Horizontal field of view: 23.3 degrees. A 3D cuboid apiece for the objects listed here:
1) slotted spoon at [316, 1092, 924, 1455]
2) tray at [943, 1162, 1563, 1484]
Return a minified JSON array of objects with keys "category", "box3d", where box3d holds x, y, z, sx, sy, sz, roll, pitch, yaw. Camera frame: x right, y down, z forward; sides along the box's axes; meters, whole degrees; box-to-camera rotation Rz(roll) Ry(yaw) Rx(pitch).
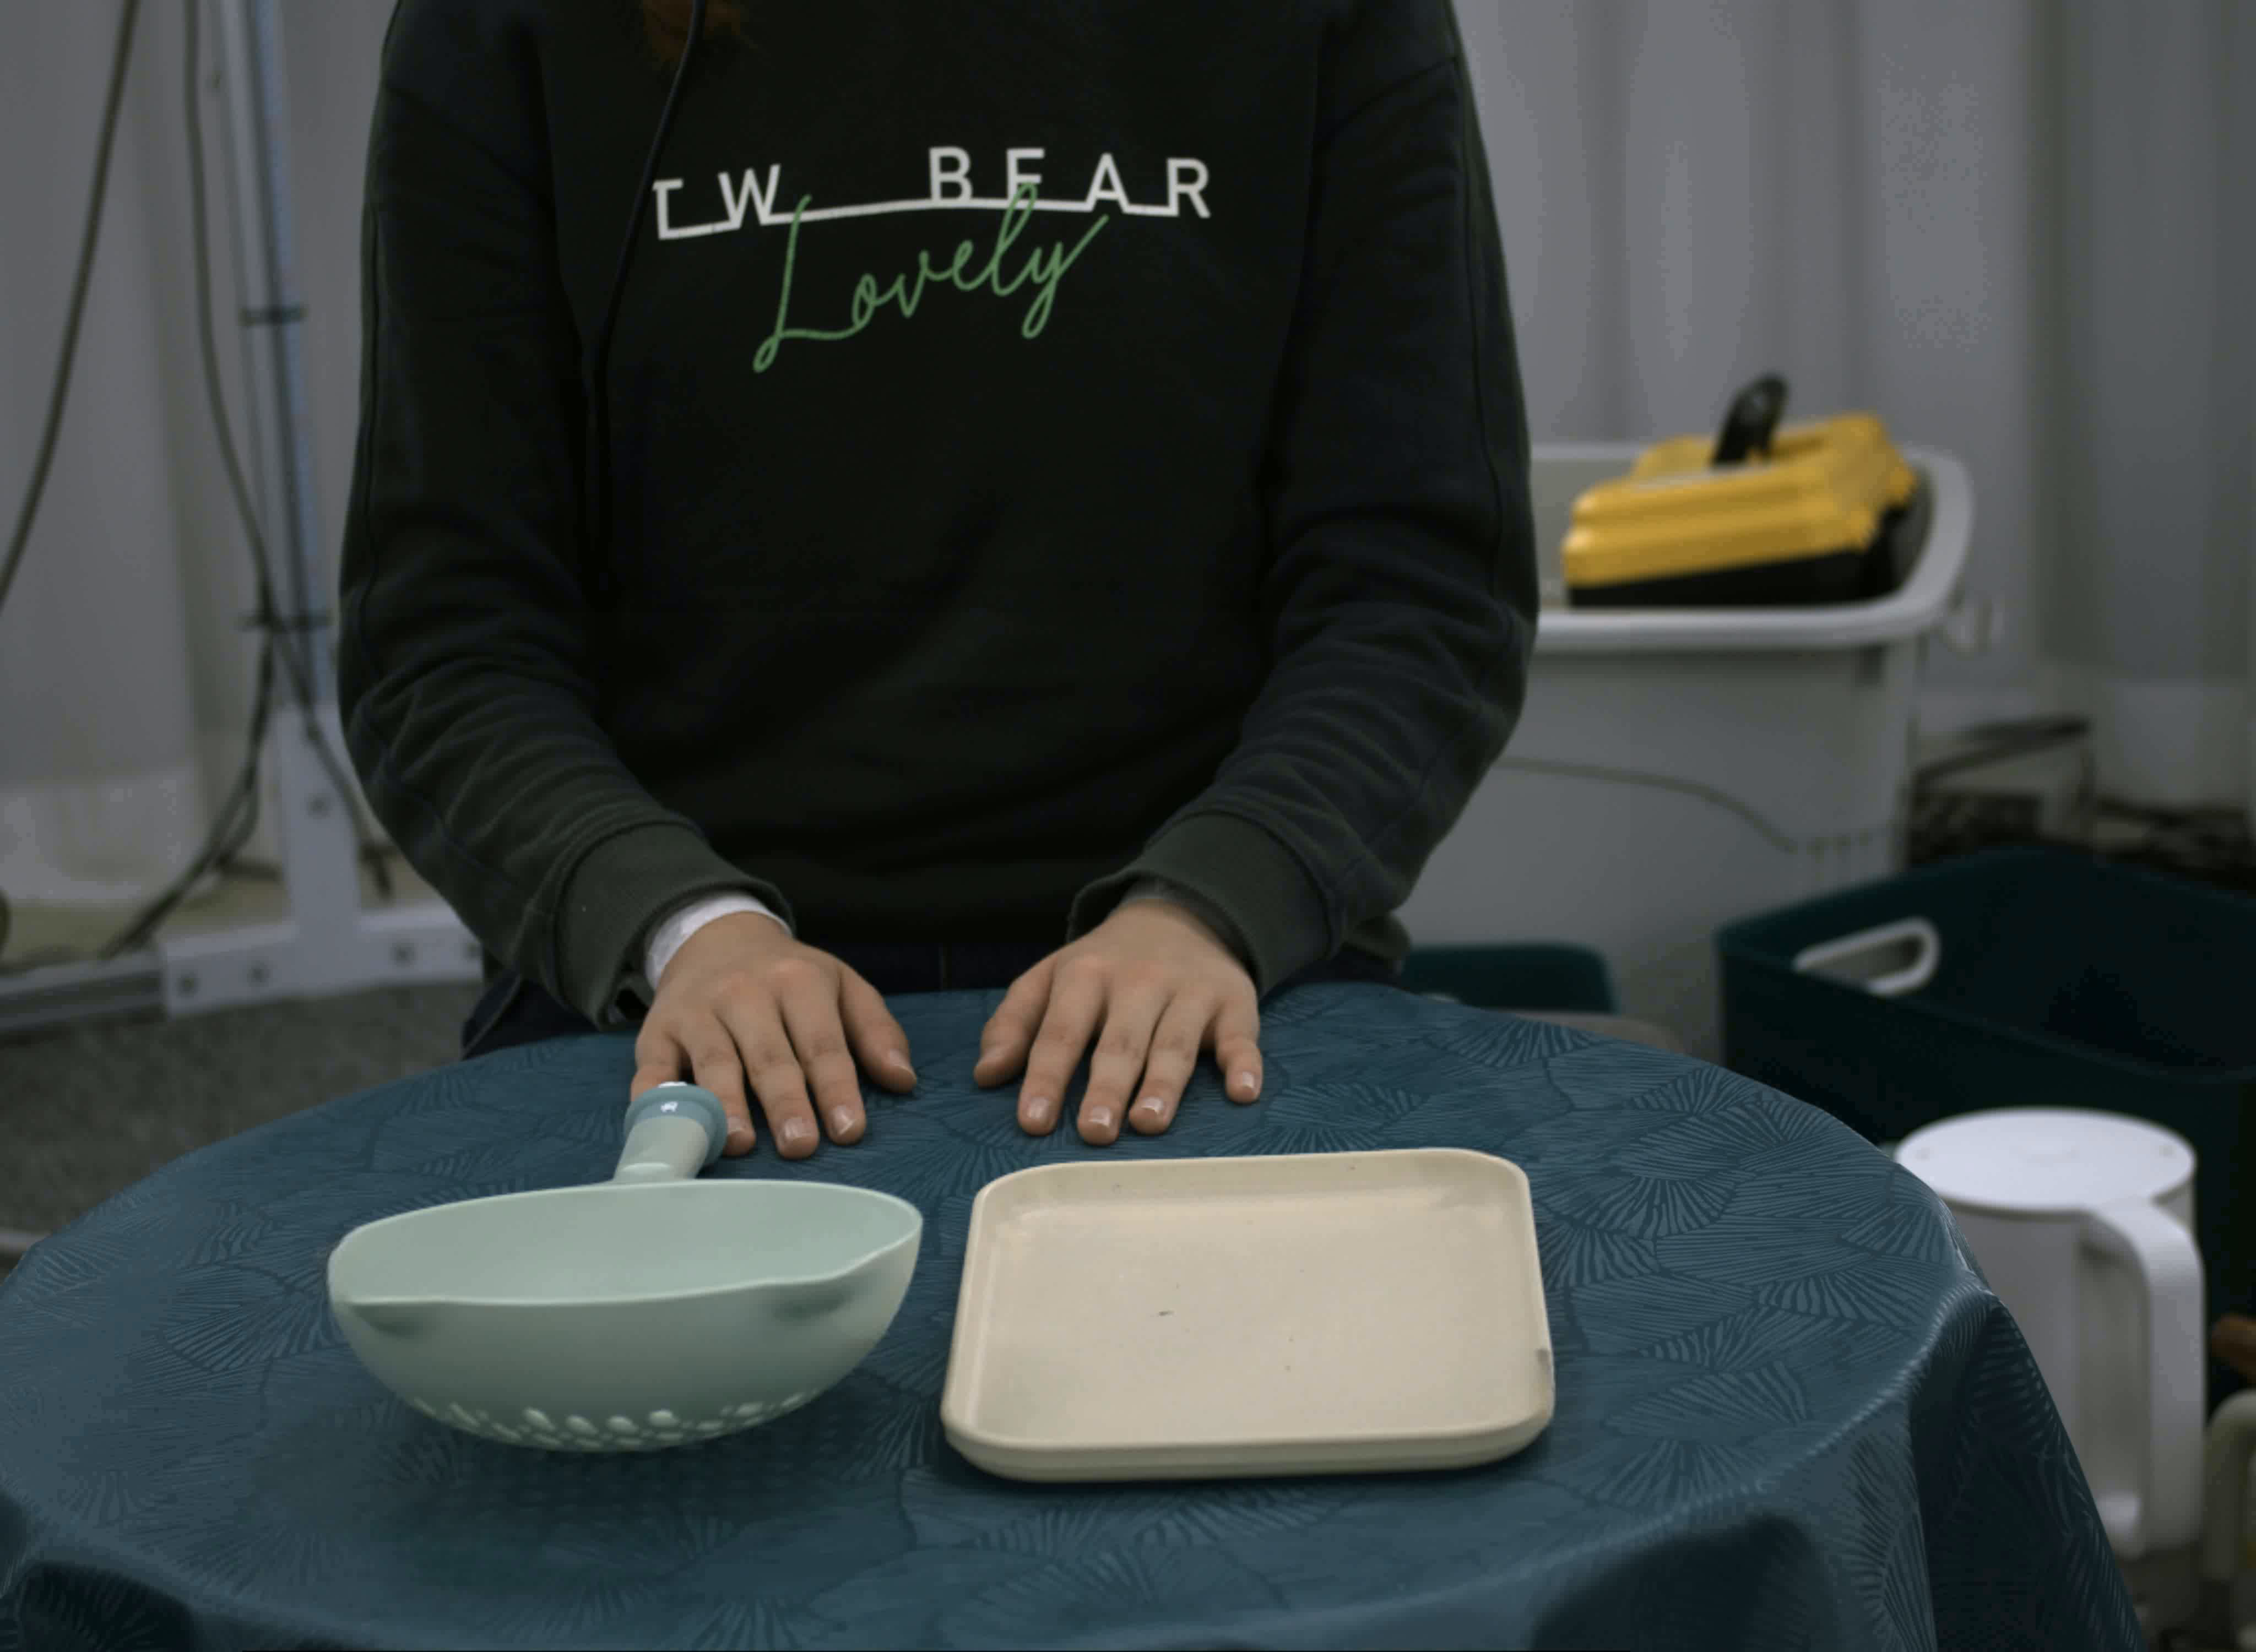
[{"category":"slotted spoon","box3d":[-0.141,0.116,1.616,0.169,0.075,0.361,-2,14,0]},{"category":"tray","box3d":[0.035,0.142,1.575,0.171,0.017,0.241,-2,14,2]}]
